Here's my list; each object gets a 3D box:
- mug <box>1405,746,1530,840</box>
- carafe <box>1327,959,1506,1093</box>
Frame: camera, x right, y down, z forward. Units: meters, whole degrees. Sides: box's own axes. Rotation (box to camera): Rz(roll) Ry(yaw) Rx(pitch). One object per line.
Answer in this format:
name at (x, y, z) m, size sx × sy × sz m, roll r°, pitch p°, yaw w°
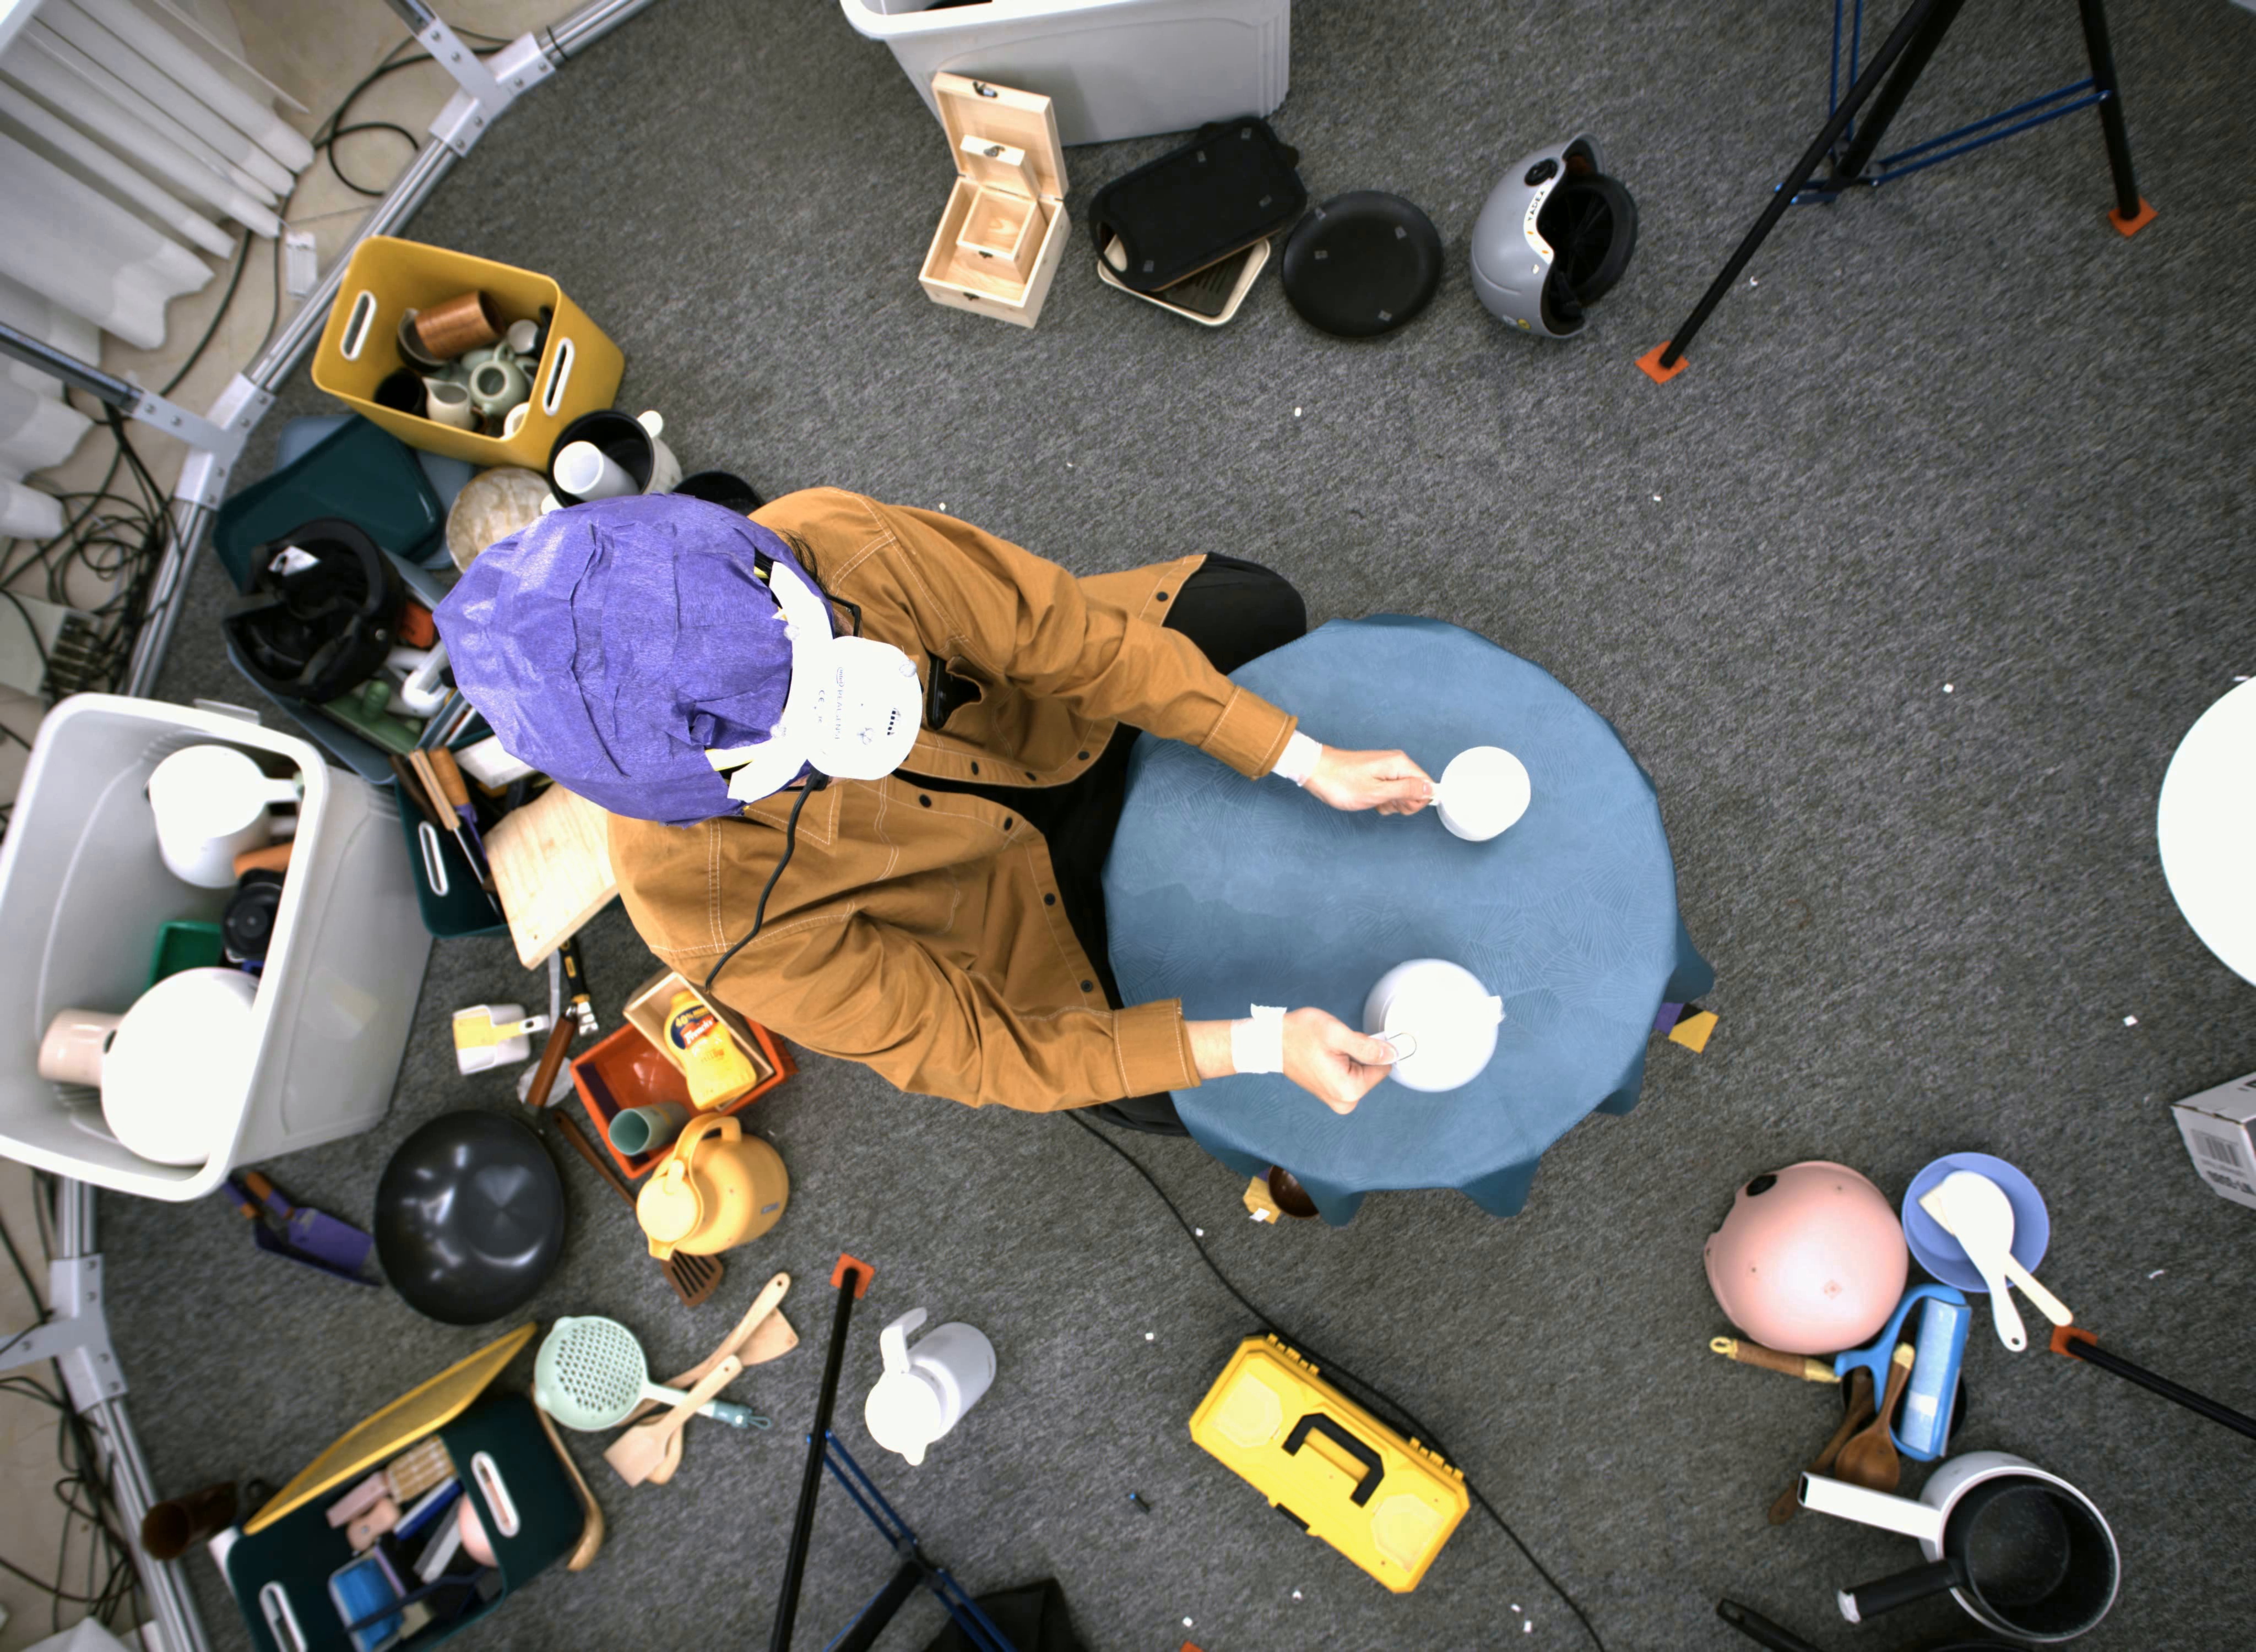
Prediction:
mug at (0.342, -0.033, 1.398) m, size 0.119 × 0.102 × 0.084 m, roll -1°, pitch 84°, yaw 9°
carafe at (0.274, 0.200, 1.328) m, size 0.169 × 0.248 × 0.131 m, roll -22°, pitch 82°, yaw 8°
